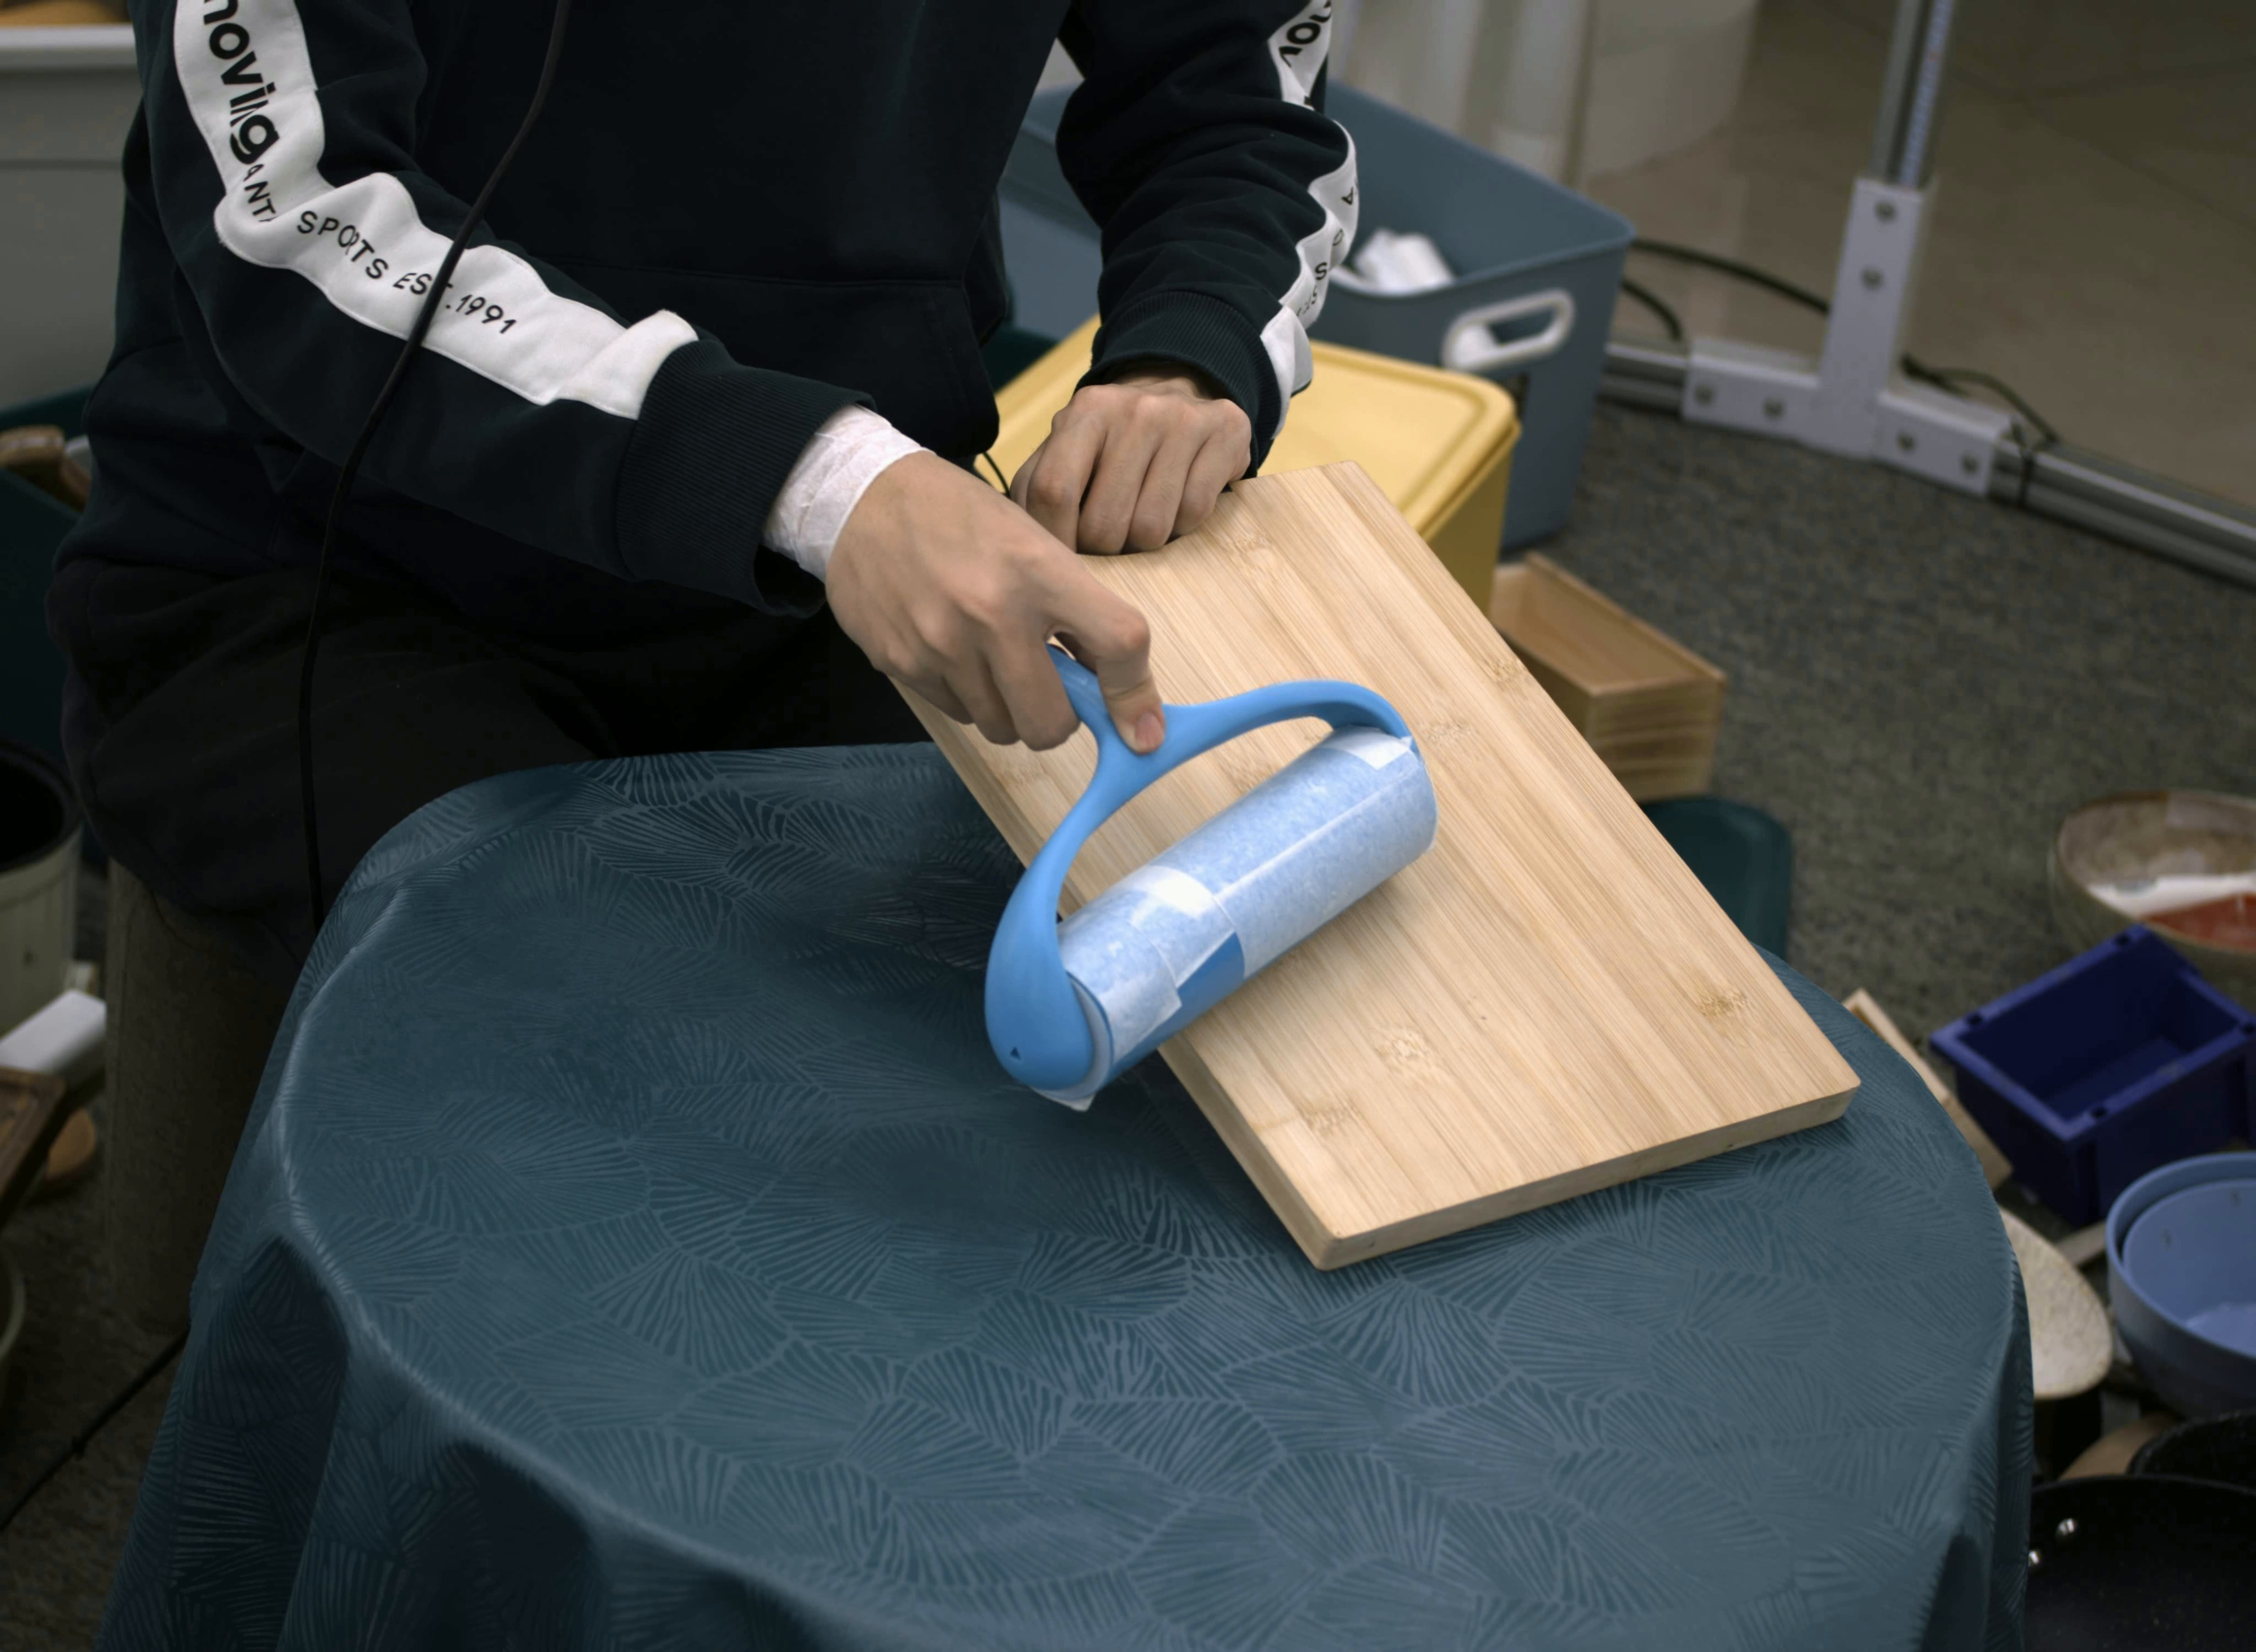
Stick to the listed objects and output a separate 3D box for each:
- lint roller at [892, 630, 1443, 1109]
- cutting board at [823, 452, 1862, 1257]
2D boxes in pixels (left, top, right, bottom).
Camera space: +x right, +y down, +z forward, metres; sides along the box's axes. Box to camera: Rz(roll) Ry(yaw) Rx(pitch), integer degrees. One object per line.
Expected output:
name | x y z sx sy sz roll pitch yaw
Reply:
lint roller | -0.008 -0.013 1.822 0.181 0.068 0.228 45 47 8
cutting board | 0.074 0.002 1.917 0.249 0.023 0.352 -14 51 -34
